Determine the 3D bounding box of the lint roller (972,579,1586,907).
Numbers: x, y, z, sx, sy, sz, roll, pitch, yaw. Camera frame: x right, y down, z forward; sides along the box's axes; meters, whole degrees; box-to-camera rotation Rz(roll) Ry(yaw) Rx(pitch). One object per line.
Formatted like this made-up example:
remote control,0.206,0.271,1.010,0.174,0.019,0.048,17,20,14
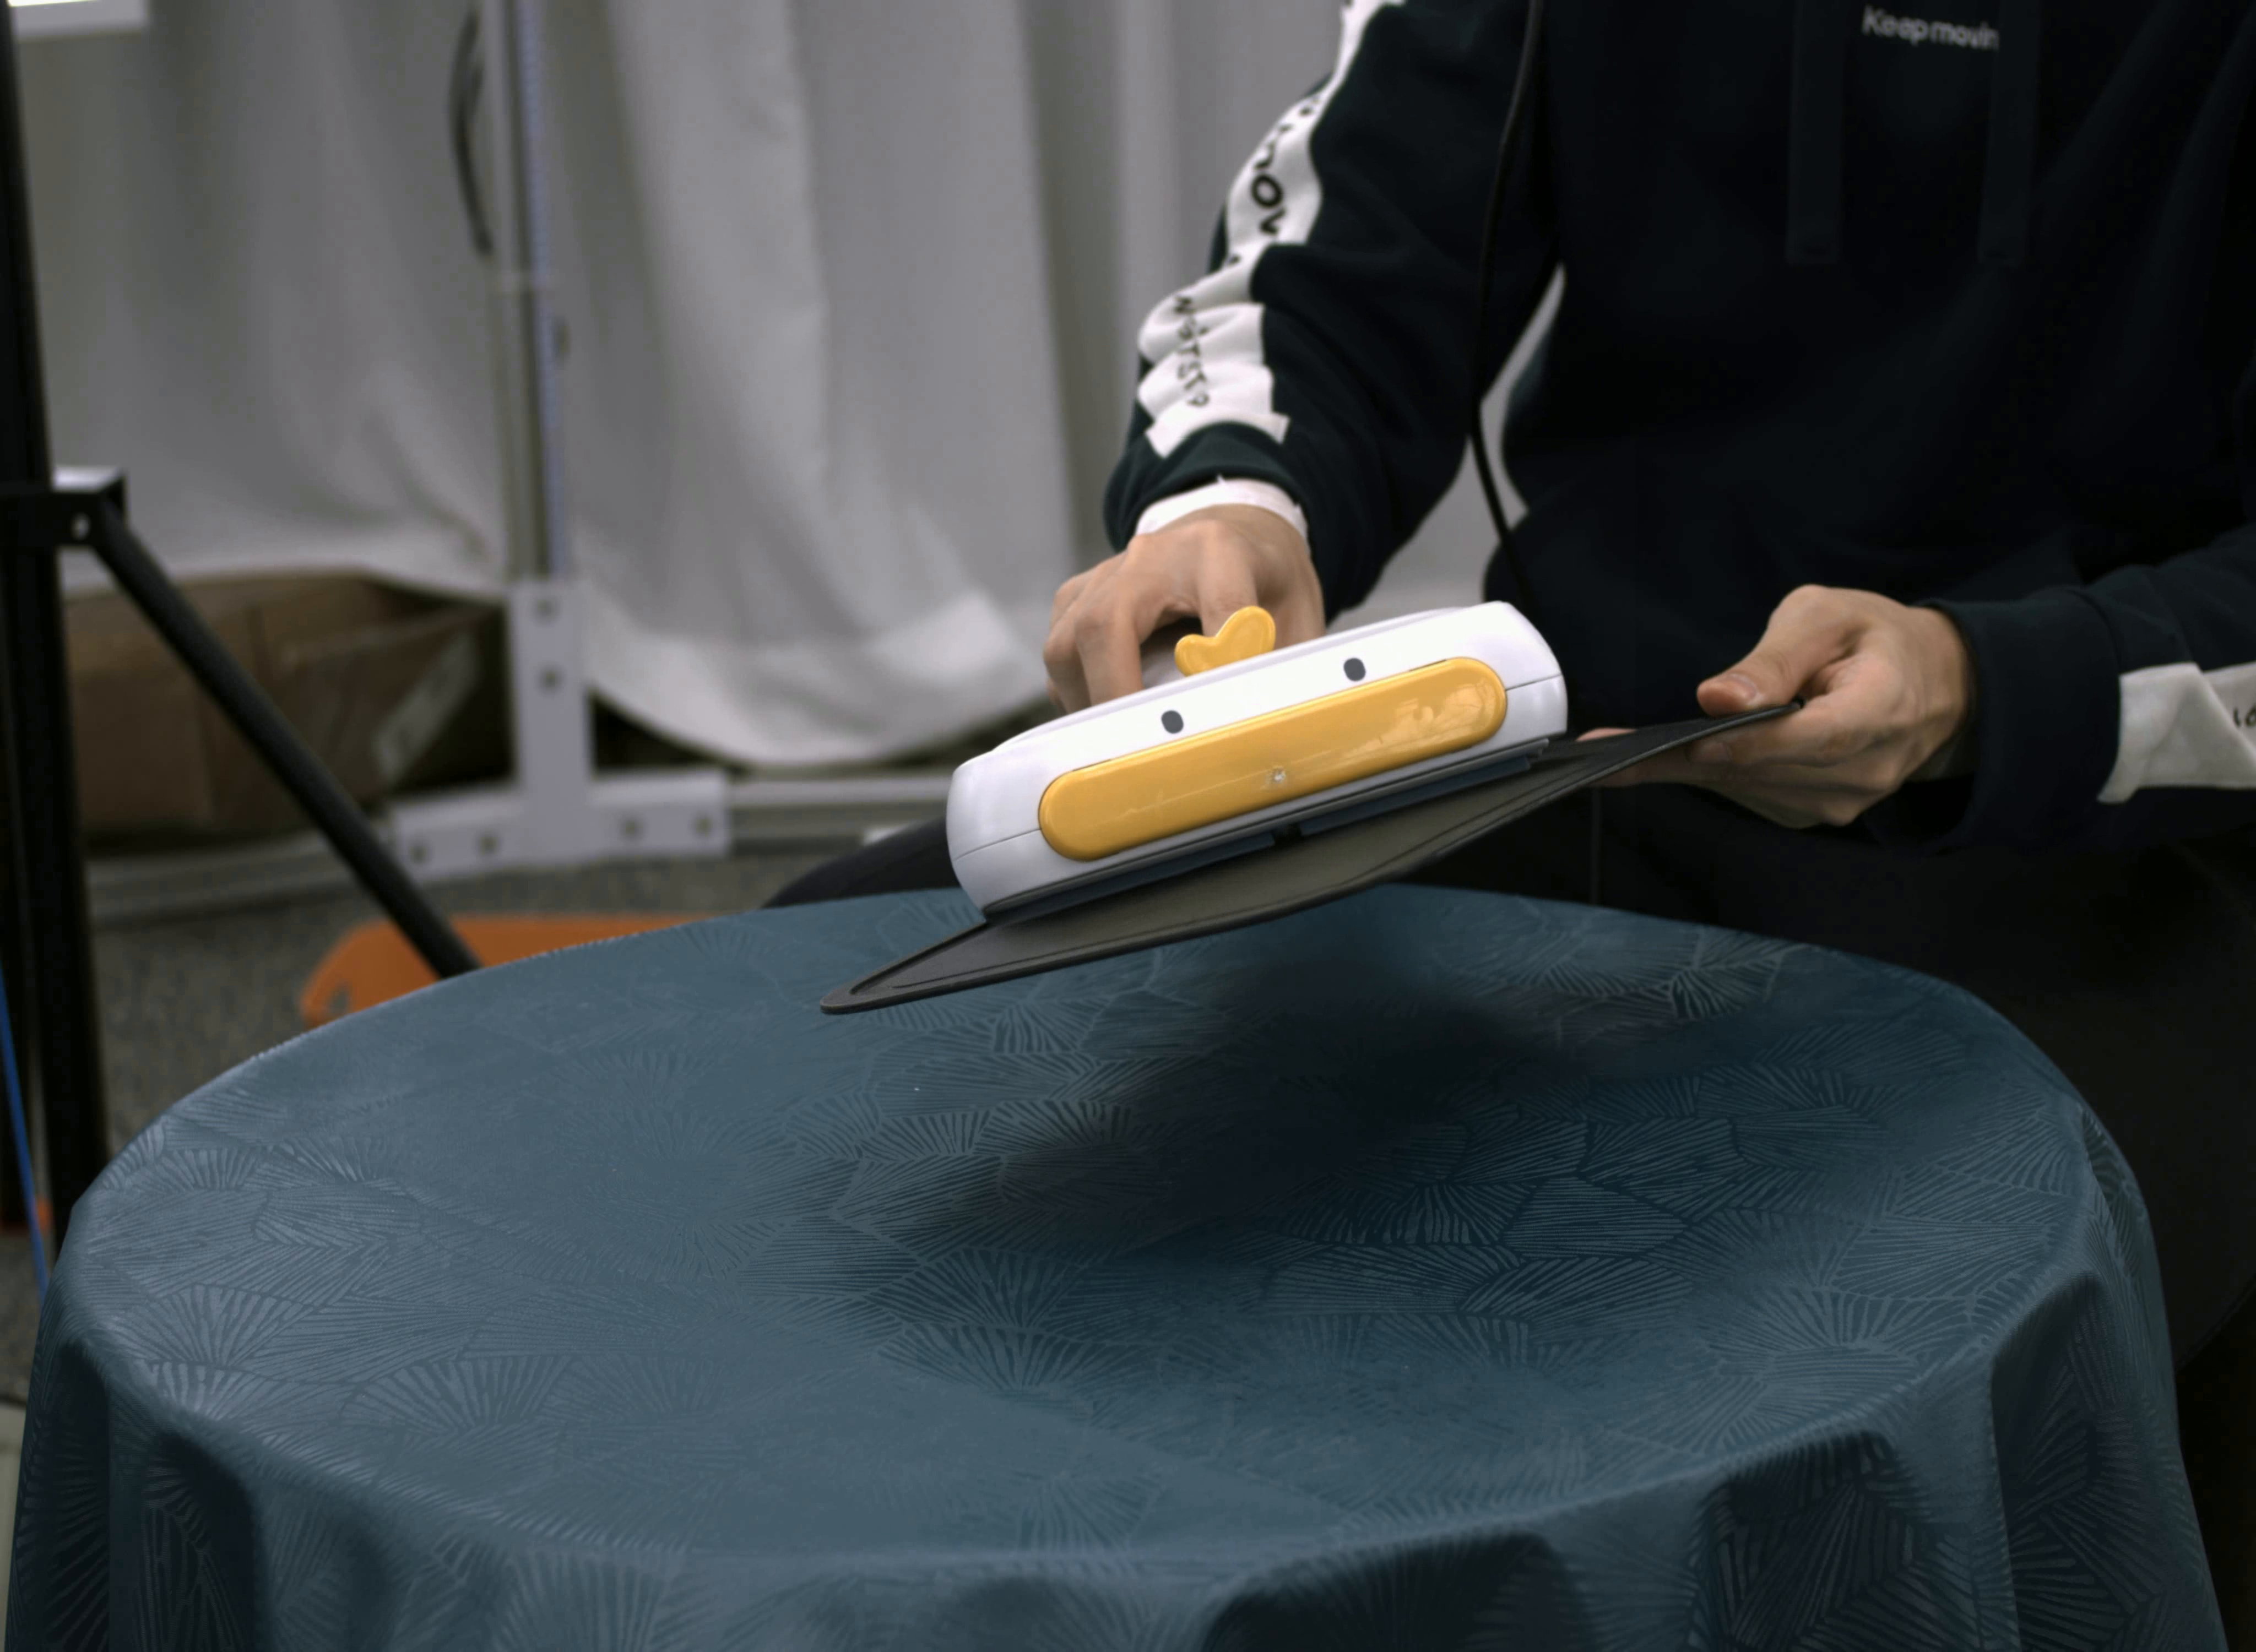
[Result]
lint roller,0.029,-0.031,1.657,0.191,0.074,0.194,-22,6,-11

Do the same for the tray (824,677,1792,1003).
tray,0.062,0.001,1.595,0.215,0.010,0.319,-14,5,36
